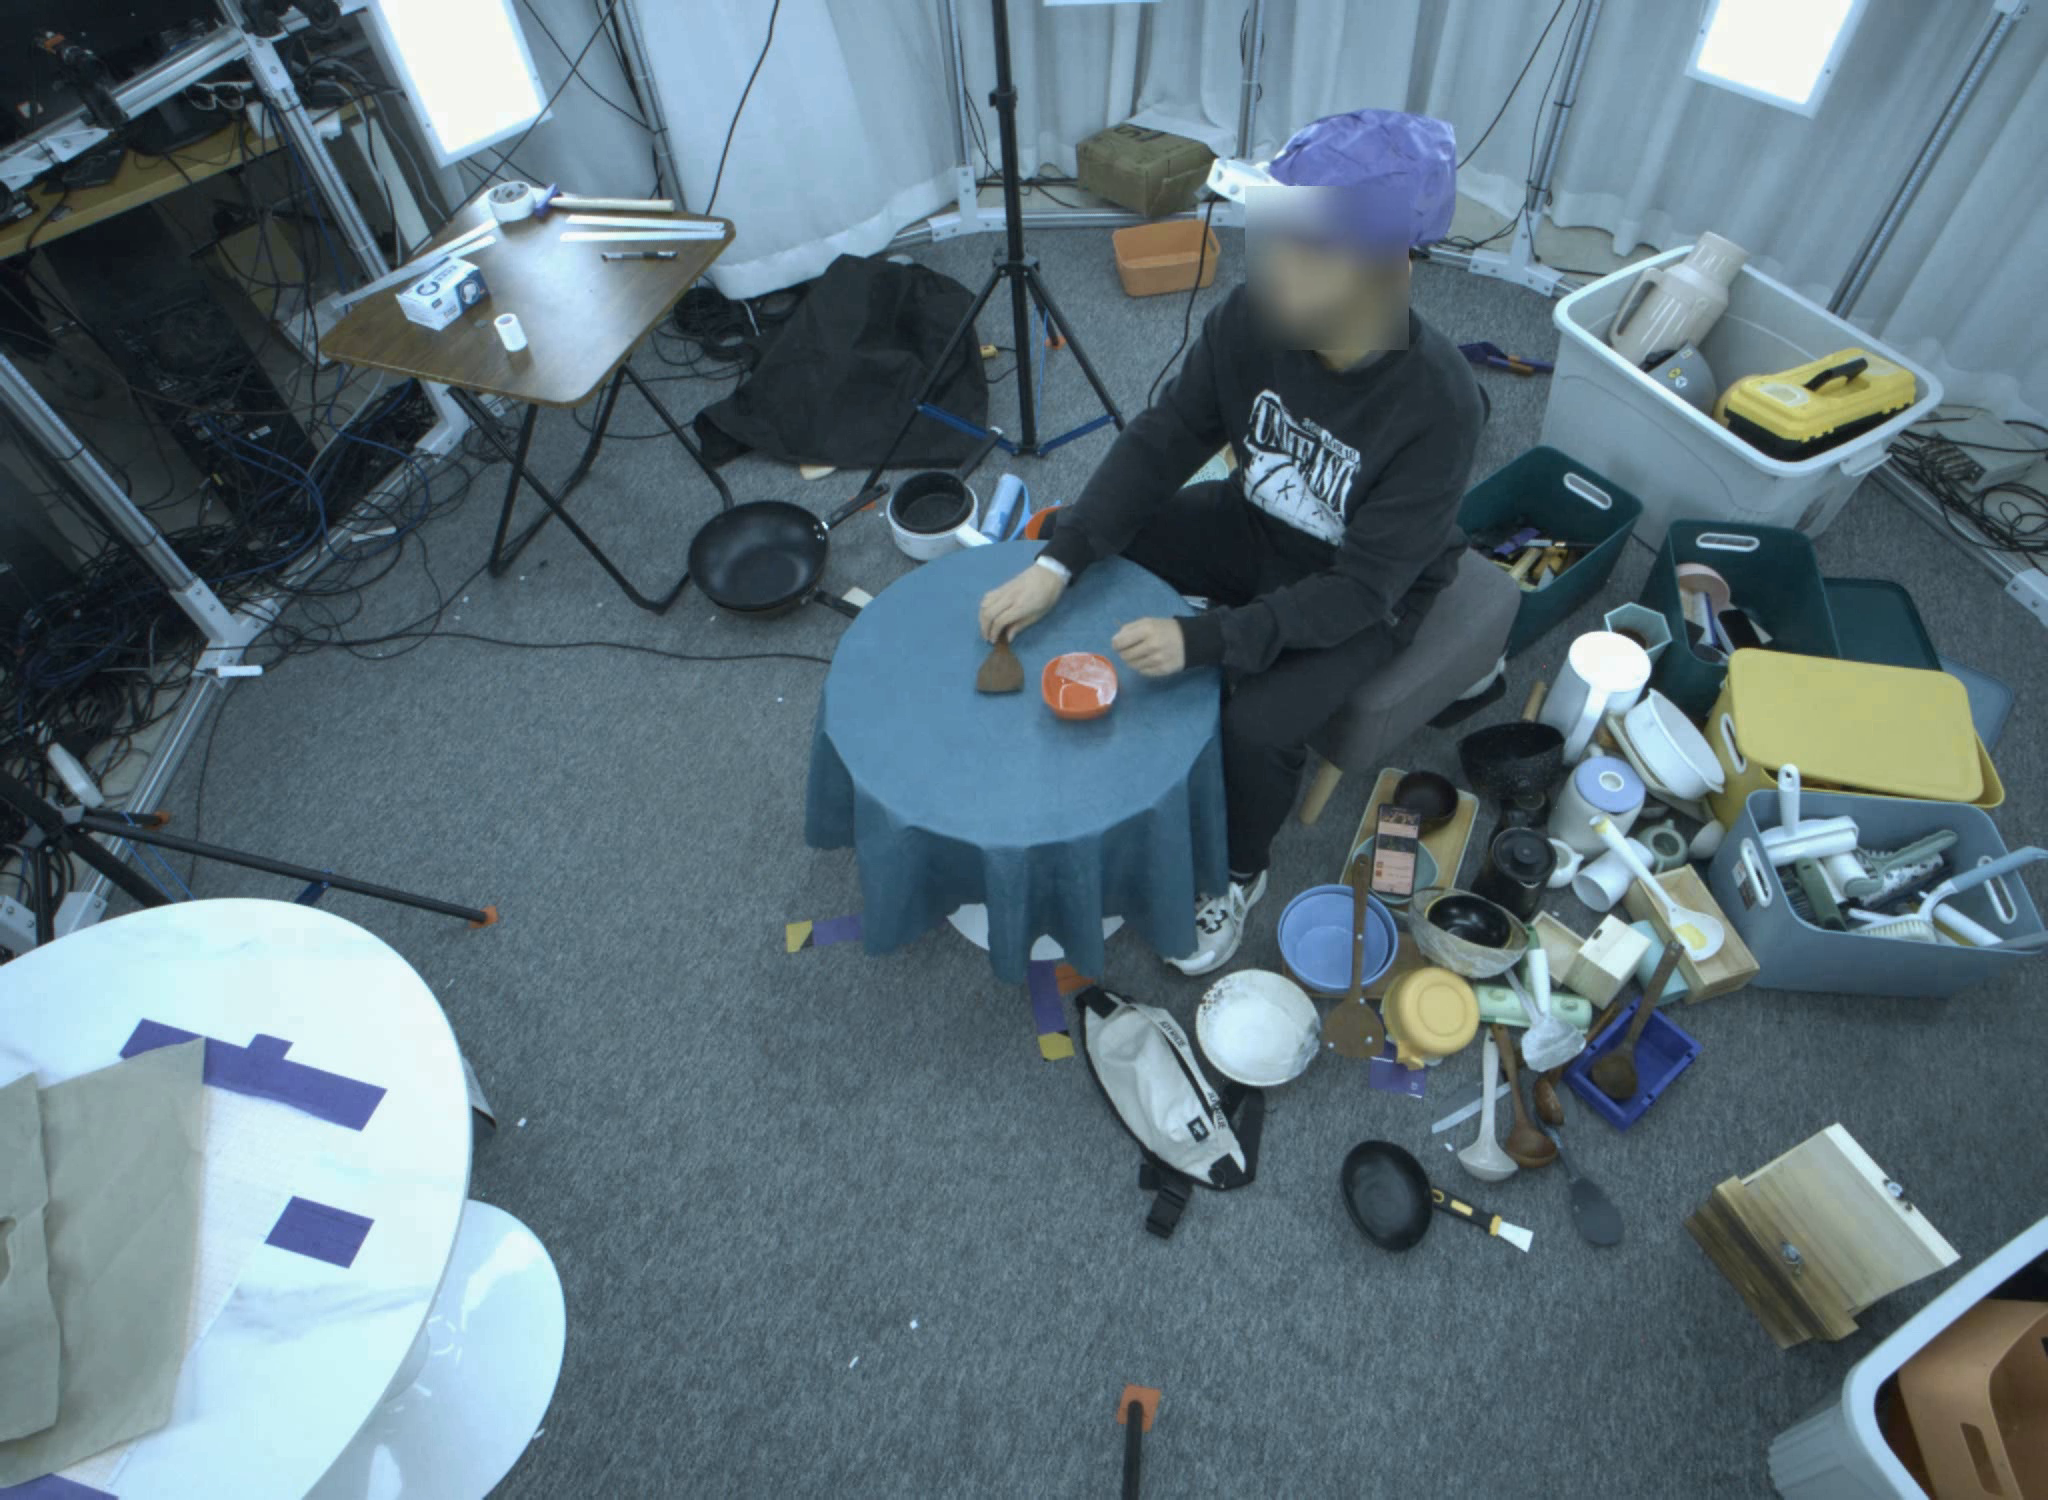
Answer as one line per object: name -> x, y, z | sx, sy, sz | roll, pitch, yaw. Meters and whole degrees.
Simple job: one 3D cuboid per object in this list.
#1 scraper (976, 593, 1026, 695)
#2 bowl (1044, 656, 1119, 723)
scraper -> -0.034, -0.166, 1.910 | 0.076, 0.011, 0.209 | 0, 55, 0
bowl -> 0.085, -0.081, 1.823 | 0.119, 0.052, 0.118 | -1, 55, 3
